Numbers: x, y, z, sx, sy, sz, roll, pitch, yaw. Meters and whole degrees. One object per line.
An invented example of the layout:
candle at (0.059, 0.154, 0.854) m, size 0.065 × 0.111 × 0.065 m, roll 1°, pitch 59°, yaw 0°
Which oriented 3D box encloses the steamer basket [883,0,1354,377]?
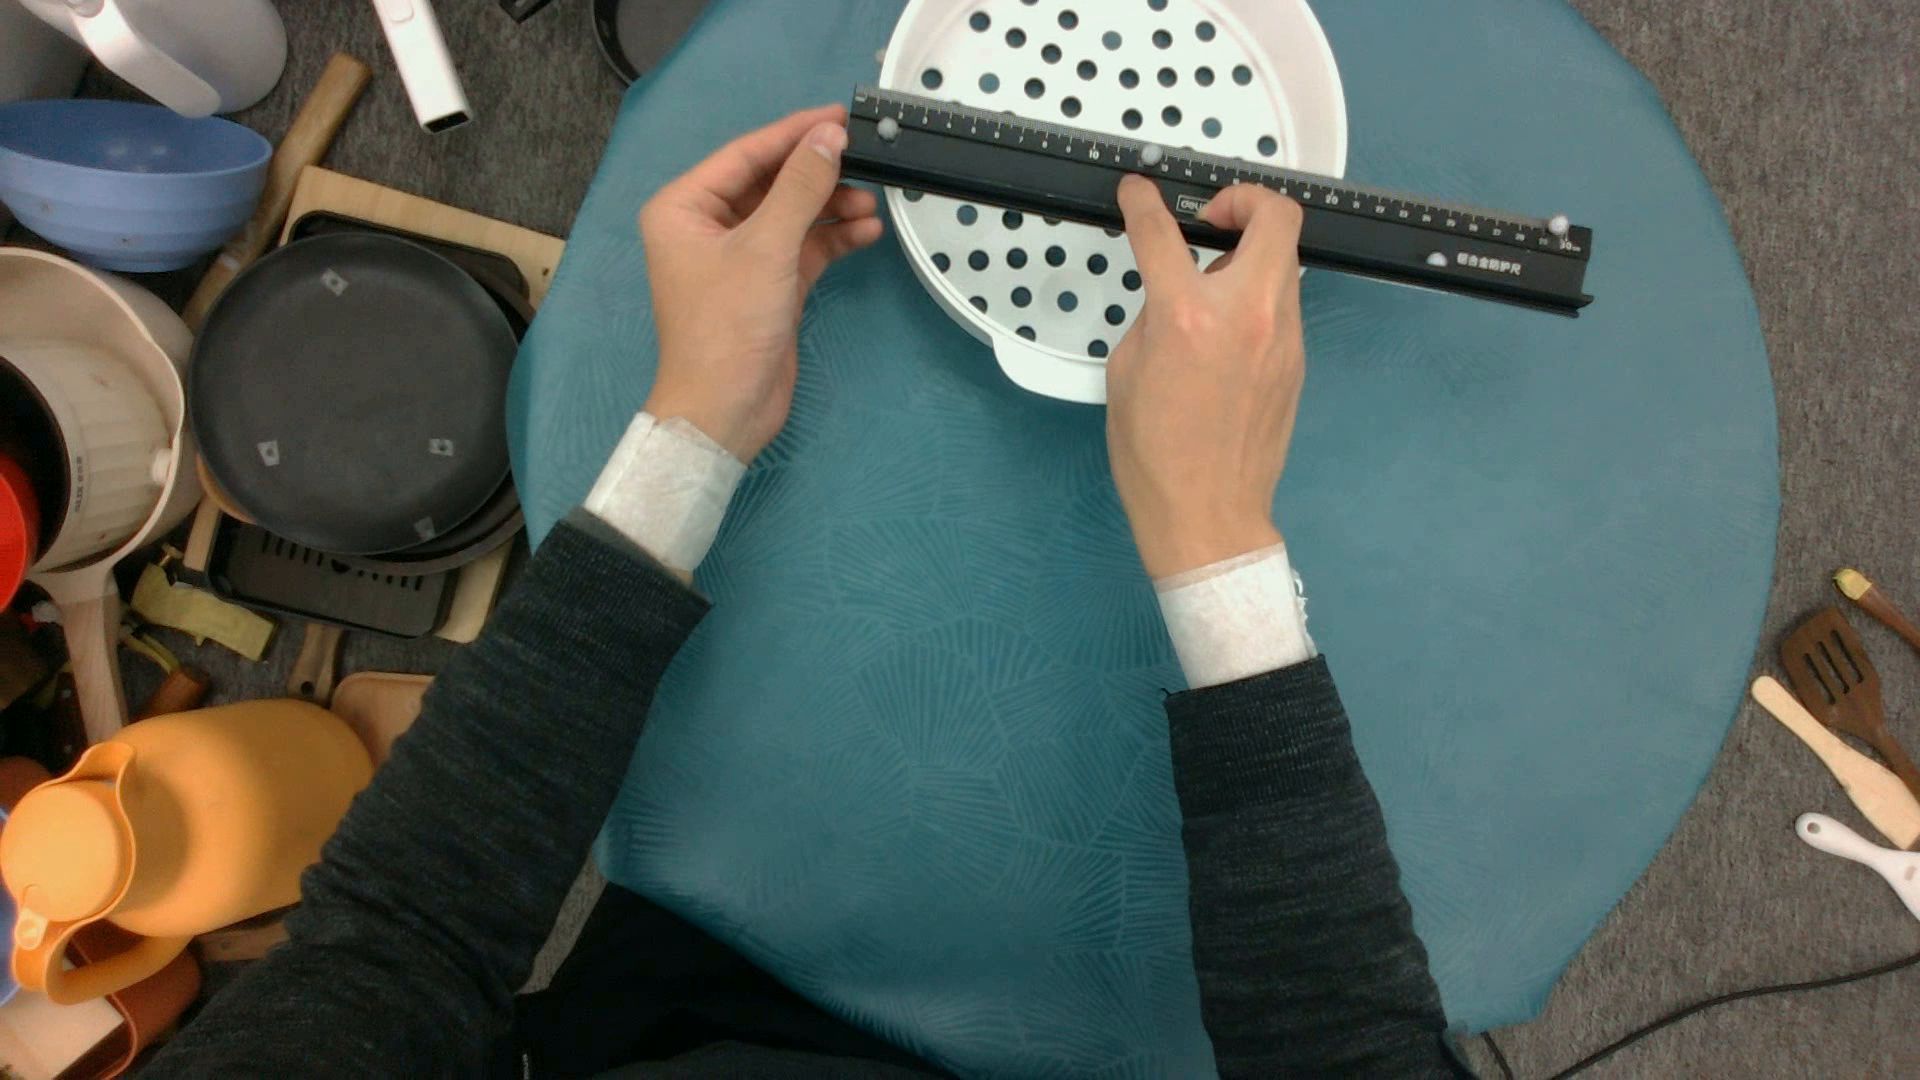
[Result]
steamer basket at (0.066, -0.183, 0.609) m, size 0.202 × 0.069 × 0.230 m, roll 10°, pitch 87°, yaw -5°

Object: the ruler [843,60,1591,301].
ruler at (0.109, -0.147, 0.562) m, size 0.312 × 0.017 × 0.039 m, roll 11°, pitch 91°, yaw -3°
